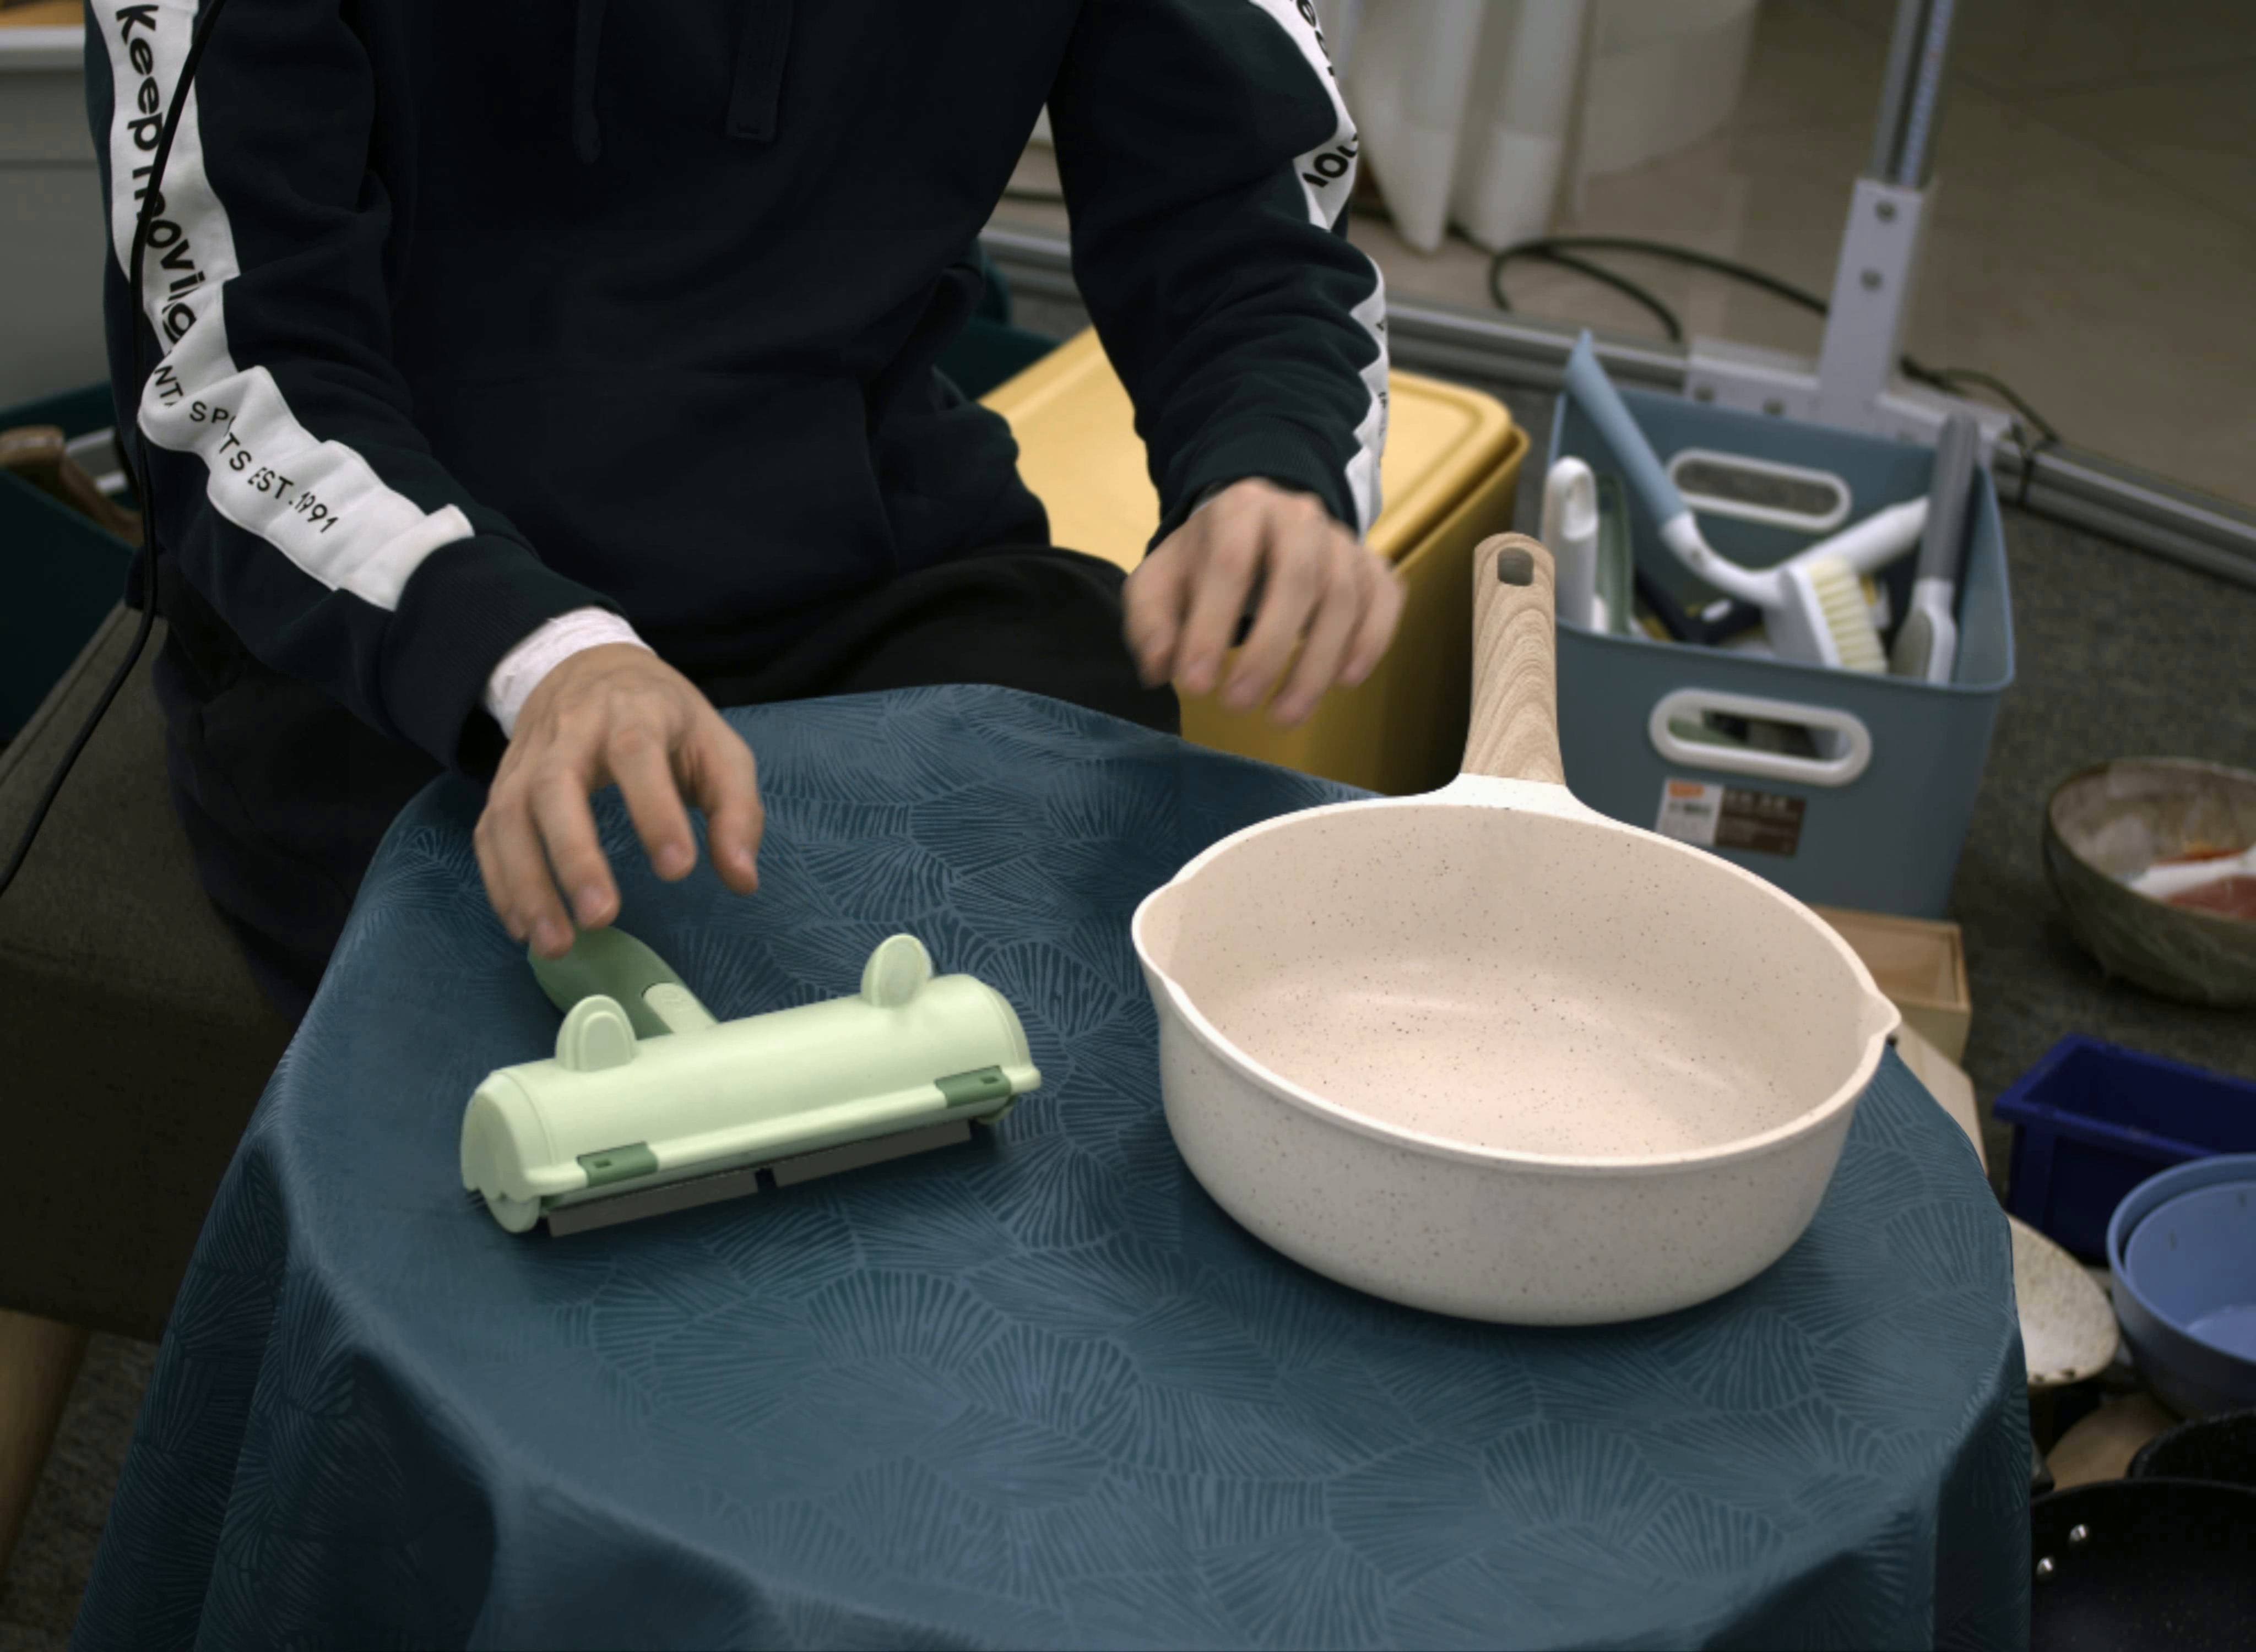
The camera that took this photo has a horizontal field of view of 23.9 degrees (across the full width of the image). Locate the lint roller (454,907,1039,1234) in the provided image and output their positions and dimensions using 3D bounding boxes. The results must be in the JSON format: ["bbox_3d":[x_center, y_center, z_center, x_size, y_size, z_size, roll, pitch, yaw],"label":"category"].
[{"bbox_3d":[-0.155,0.057,1.811,0.197,0.082,0.185,-11,37,-31],"label":"lint roller"}]

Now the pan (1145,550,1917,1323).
[{"bbox_3d":[0.137,0.036,1.893,0.262,0.101,0.437,5,27,0],"label":"pan"}]
